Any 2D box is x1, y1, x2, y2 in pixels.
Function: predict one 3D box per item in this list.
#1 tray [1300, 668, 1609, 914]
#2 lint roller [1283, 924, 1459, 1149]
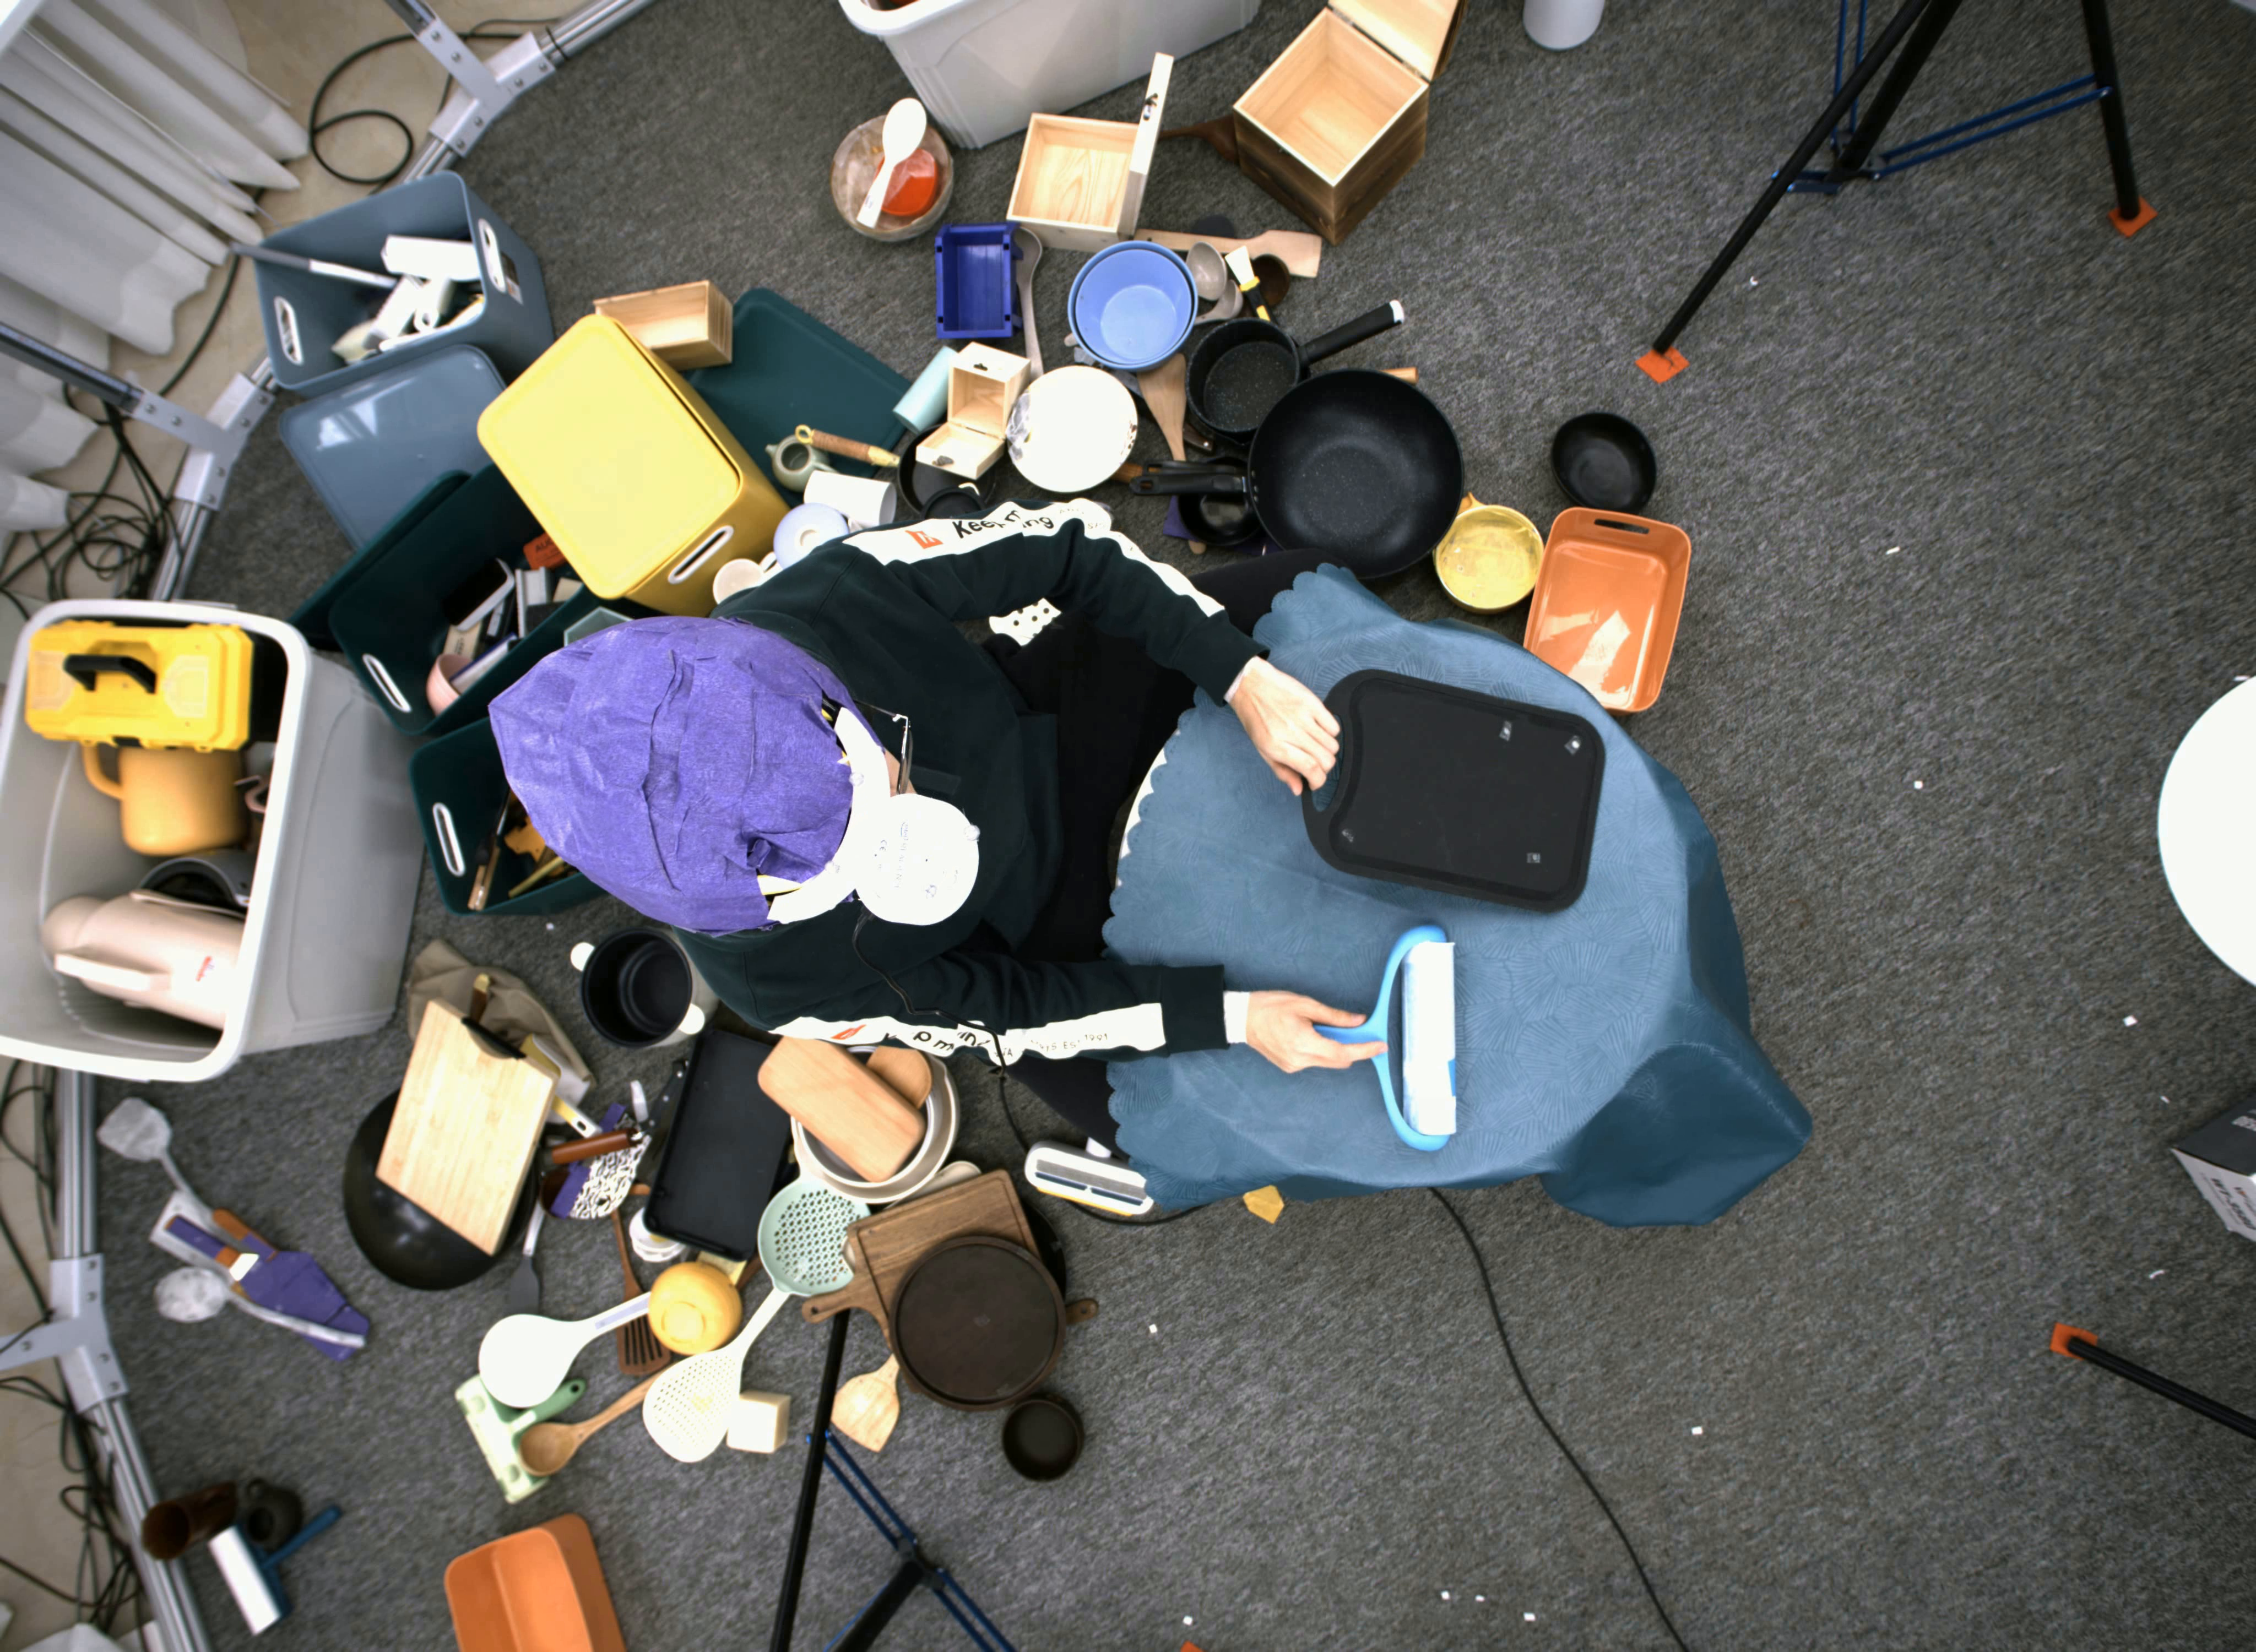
[{"bbox_3d":[0.331,-0.038,1.391,0.325,0.010,0.210,12,88,-9],"label":"tray"},{"bbox_3d":[0.250,0.216,1.420,0.181,0.068,0.228,-3,88,6],"label":"lint roller"}]
